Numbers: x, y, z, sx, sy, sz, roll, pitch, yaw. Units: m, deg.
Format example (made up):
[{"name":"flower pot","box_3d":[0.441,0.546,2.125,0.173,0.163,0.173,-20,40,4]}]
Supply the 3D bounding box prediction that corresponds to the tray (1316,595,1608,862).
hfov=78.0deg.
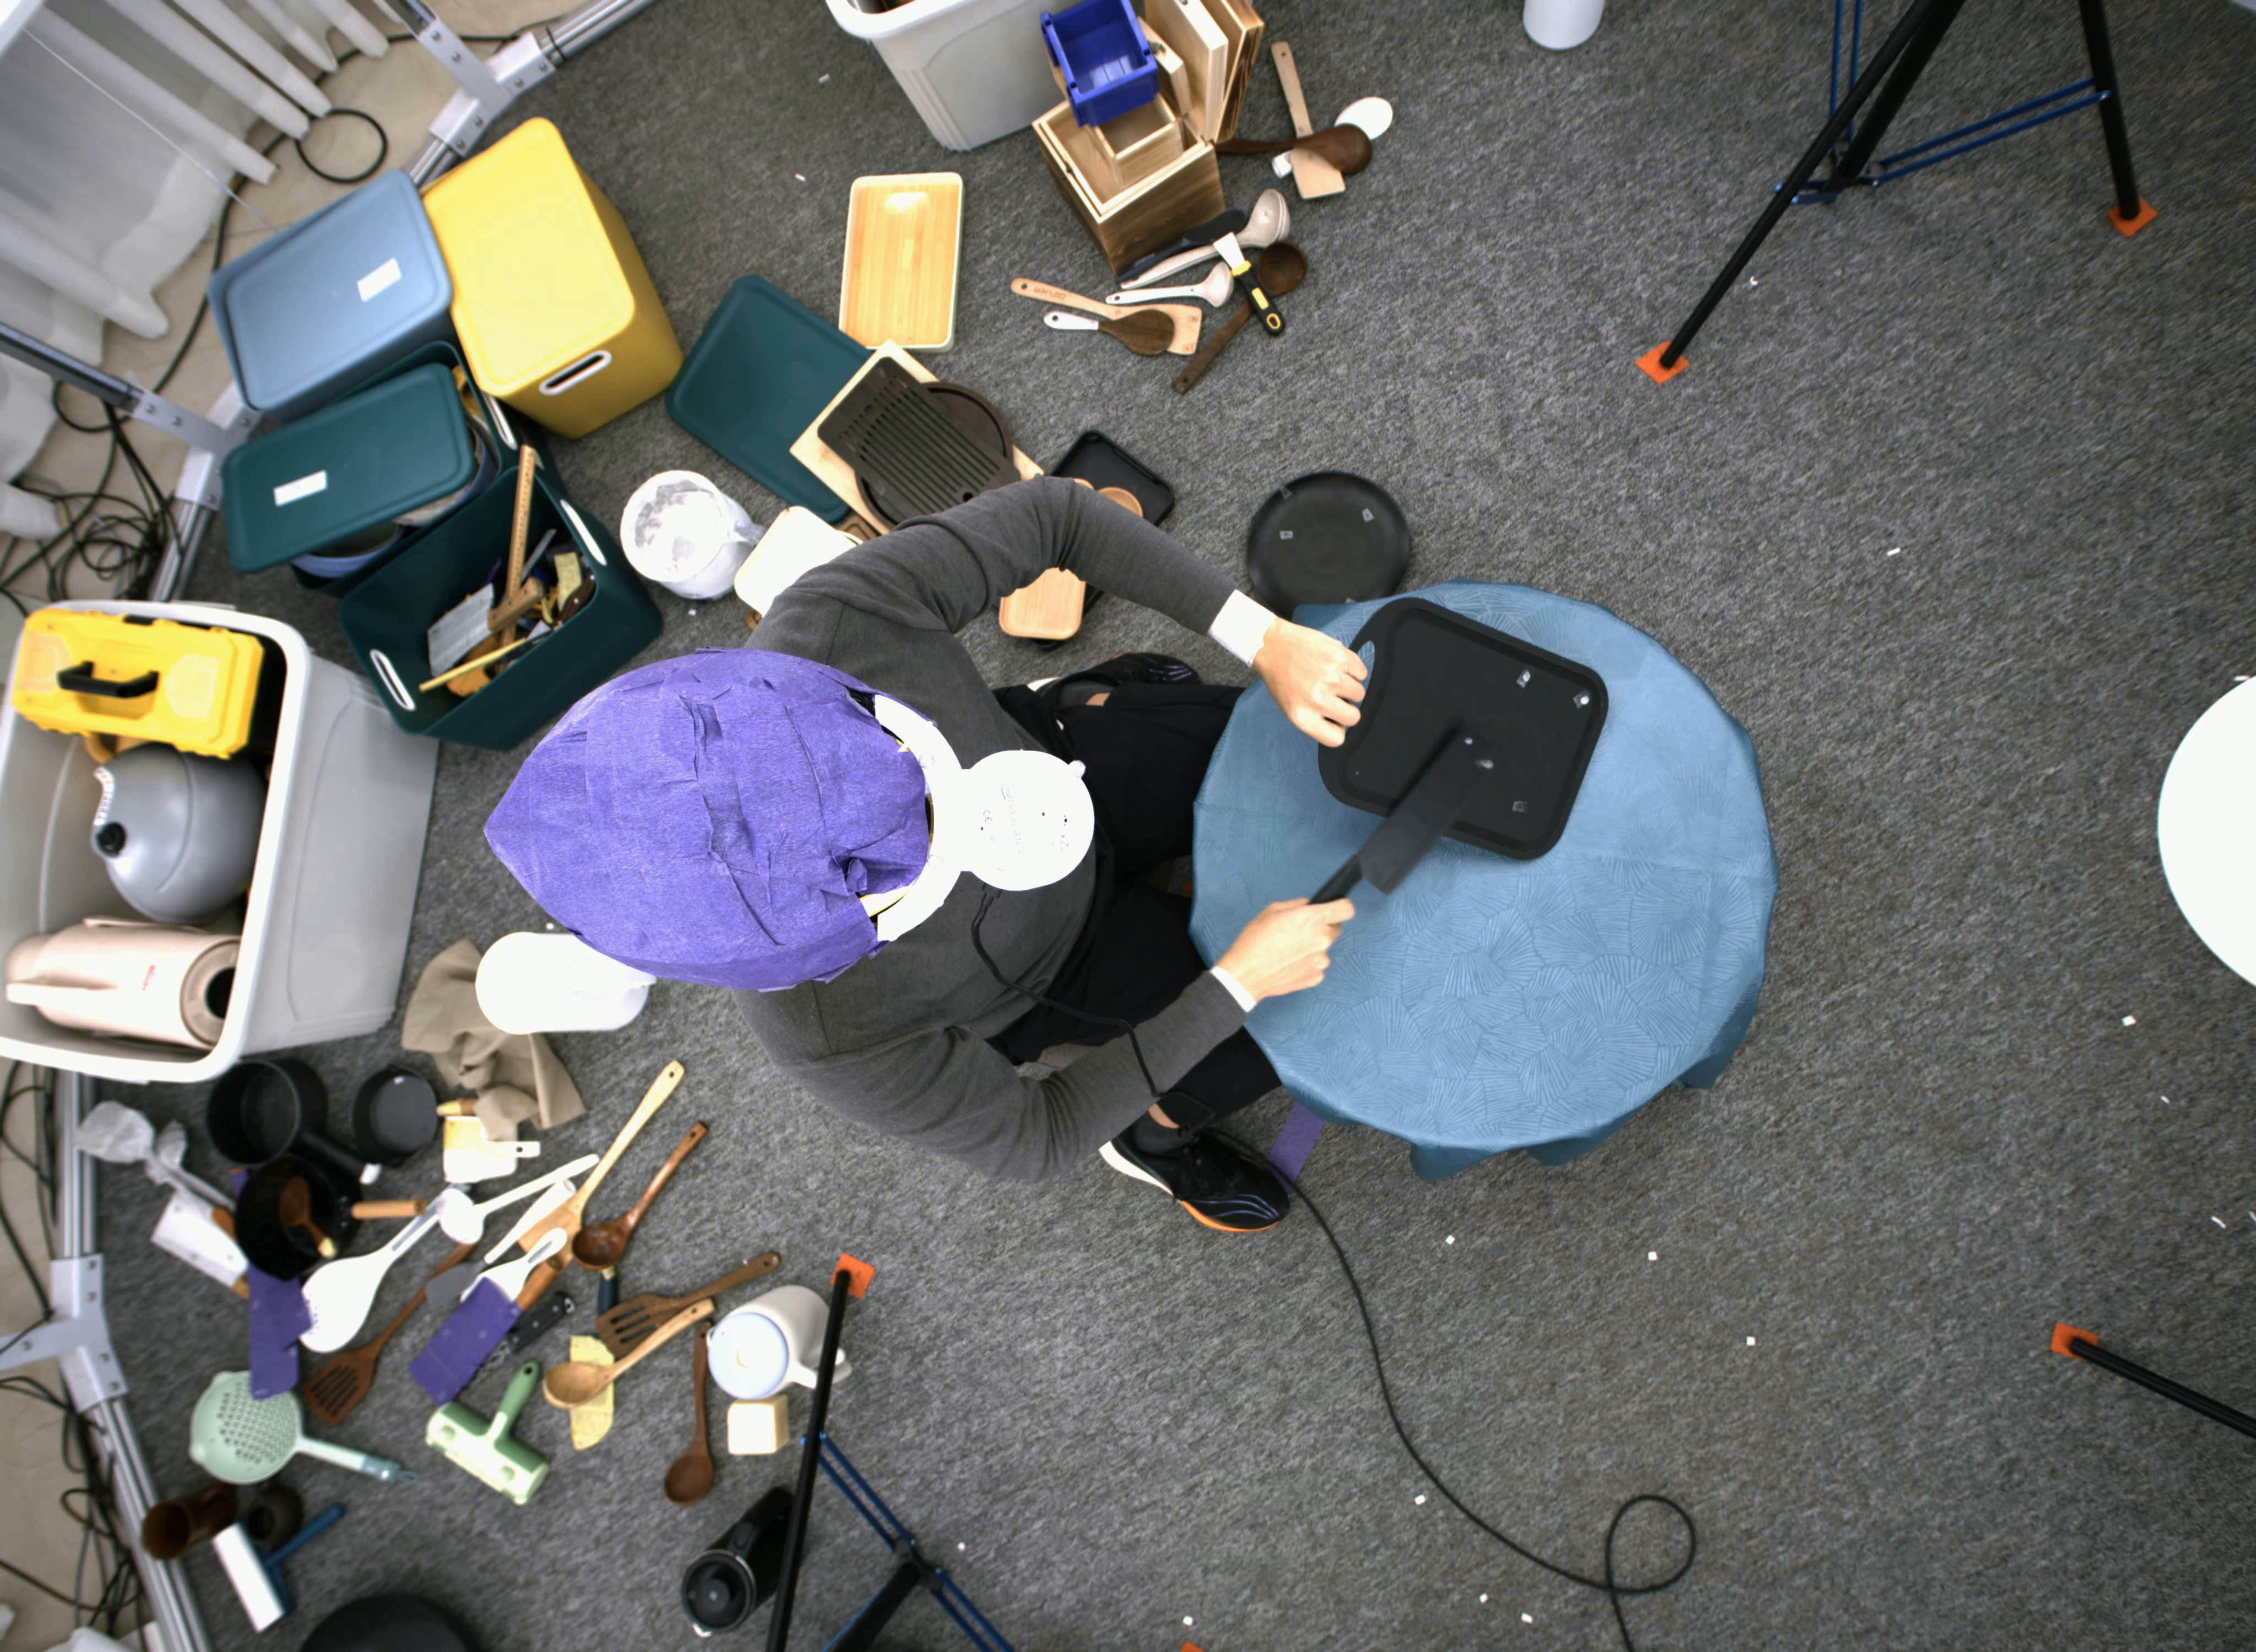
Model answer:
[{"name":"tray","box_3d":[0.330,-0.094,1.352,0.326,0.010,0.212,16,100,-24]}]

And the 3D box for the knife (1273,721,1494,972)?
[{"name":"knife","box_3d":[0.250,0.025,1.365,0.303,0.020,0.082,-47,119,4]}]
